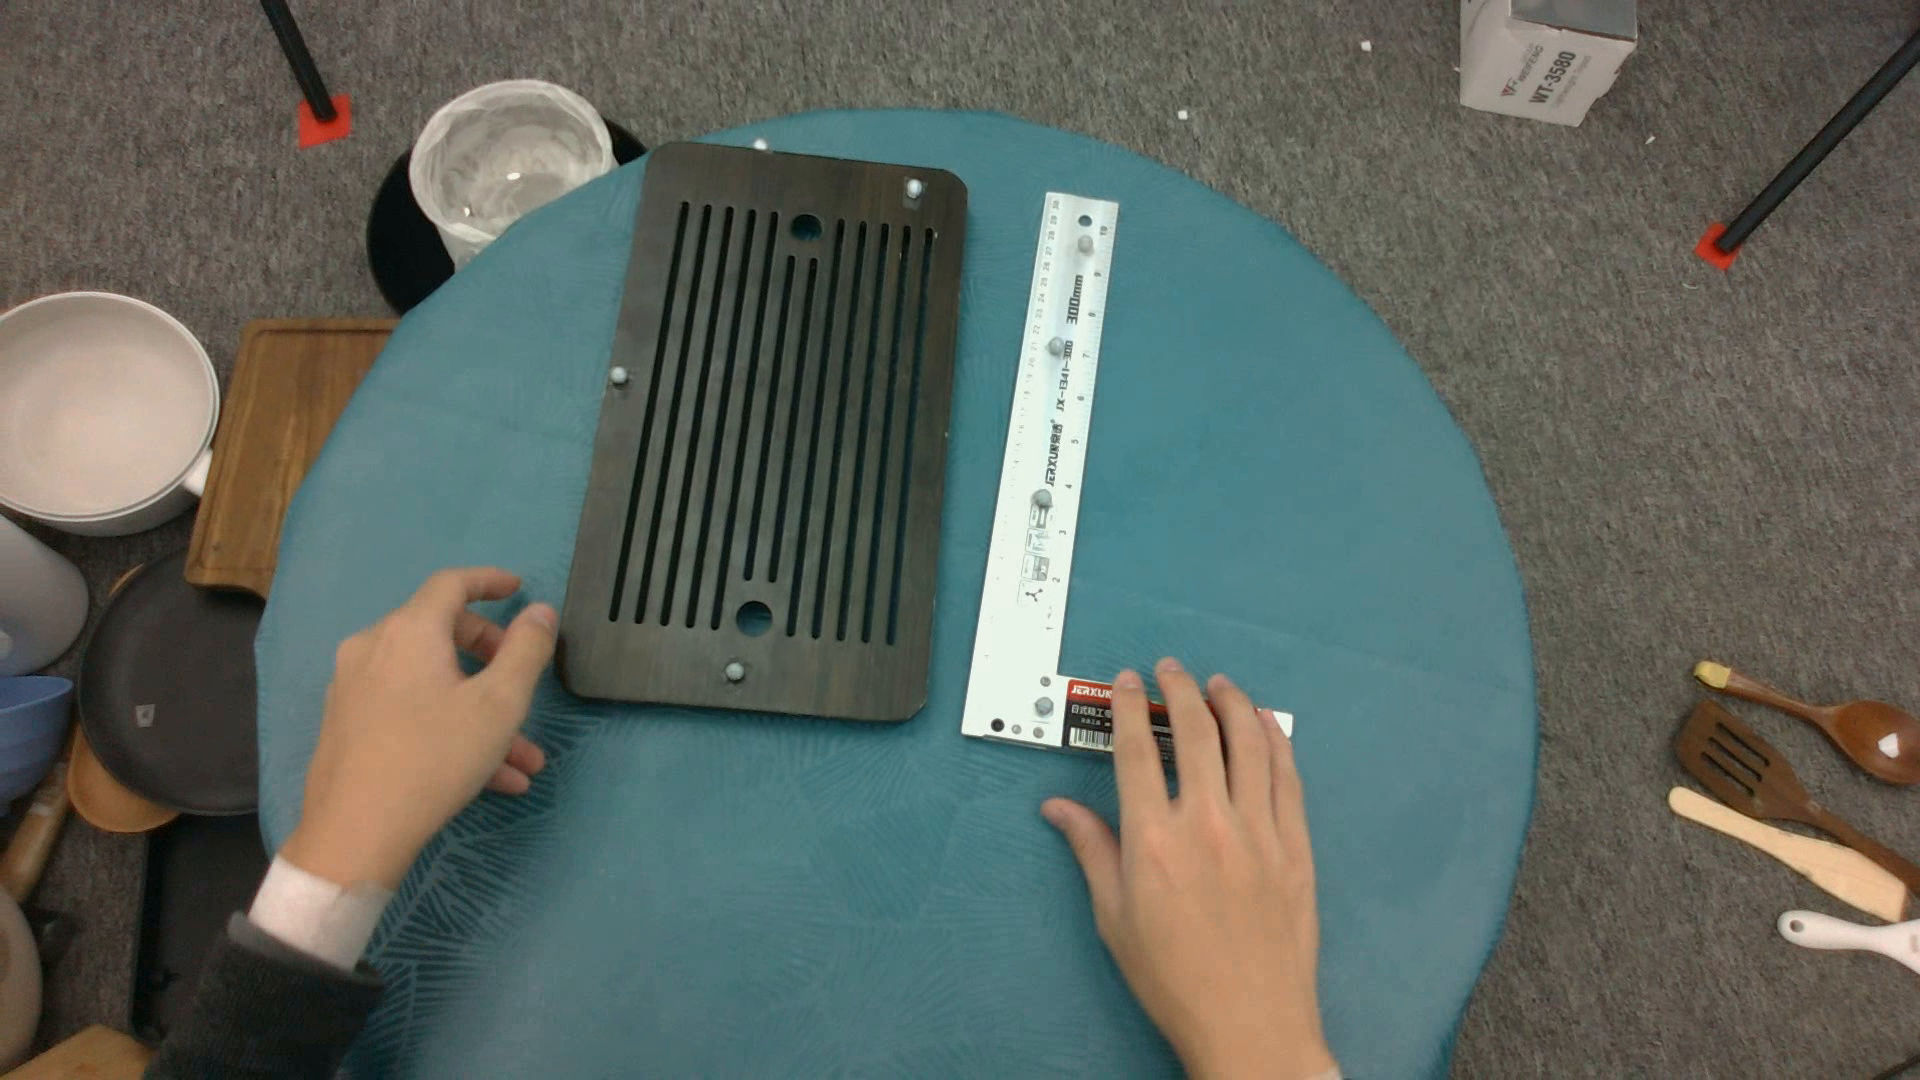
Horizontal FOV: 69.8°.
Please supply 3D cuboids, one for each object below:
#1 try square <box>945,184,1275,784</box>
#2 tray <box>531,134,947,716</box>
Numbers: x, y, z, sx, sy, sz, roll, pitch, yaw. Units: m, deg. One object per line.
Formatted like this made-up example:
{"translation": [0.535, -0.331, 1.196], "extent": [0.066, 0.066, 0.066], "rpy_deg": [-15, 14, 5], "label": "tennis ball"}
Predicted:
{"translation": [0.089, -0.041, 0.691], "extent": [0.152, 0.016, 0.314], "rpy_deg": [9, 66, -1], "label": "try square"}
{"translation": [-0.100, -0.066, 0.681], "extent": [0.170, 0.018, 0.307], "rpy_deg": [5, 67, -3], "label": "tray"}
